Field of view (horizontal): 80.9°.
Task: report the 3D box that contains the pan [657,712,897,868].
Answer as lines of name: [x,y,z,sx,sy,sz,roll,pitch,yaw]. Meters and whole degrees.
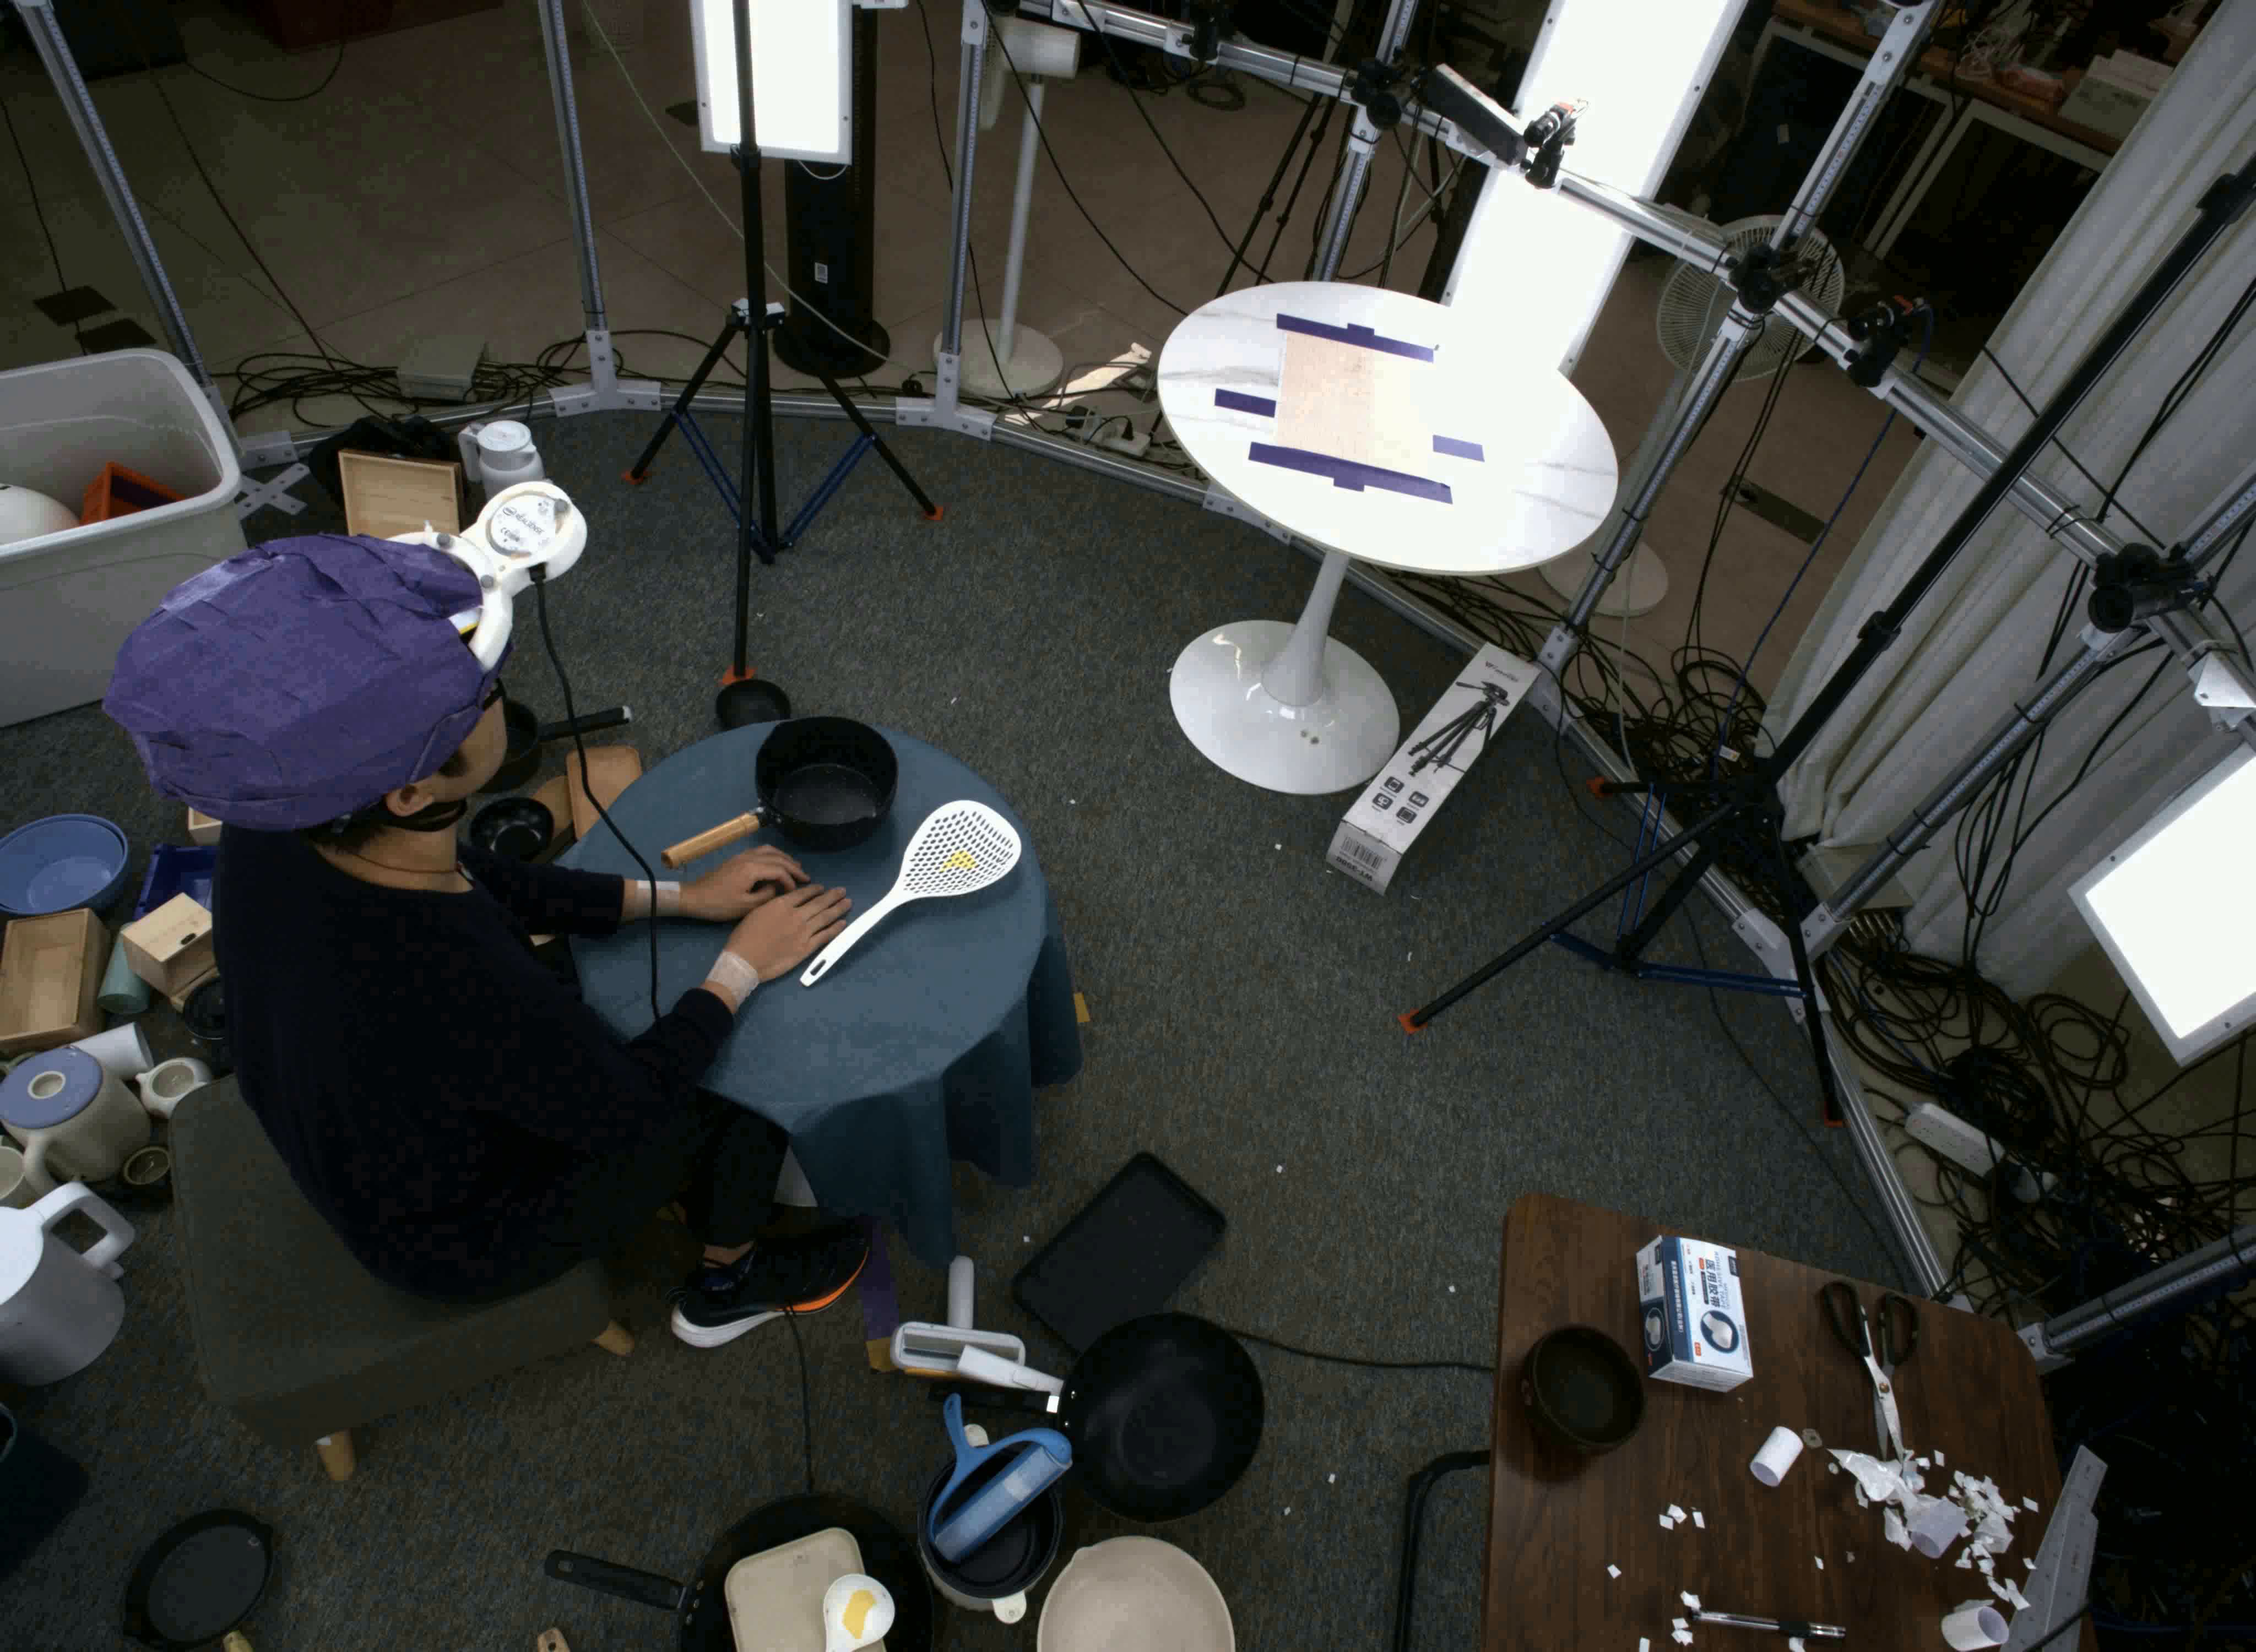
pan: [-0.447,-0.017,1.651,0.203,0.110,0.343,40,53,15]

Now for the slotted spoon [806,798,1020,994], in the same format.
slotted spoon: [-0.282,0.088,1.658,0.134,0.051,0.348,39,52,13]
